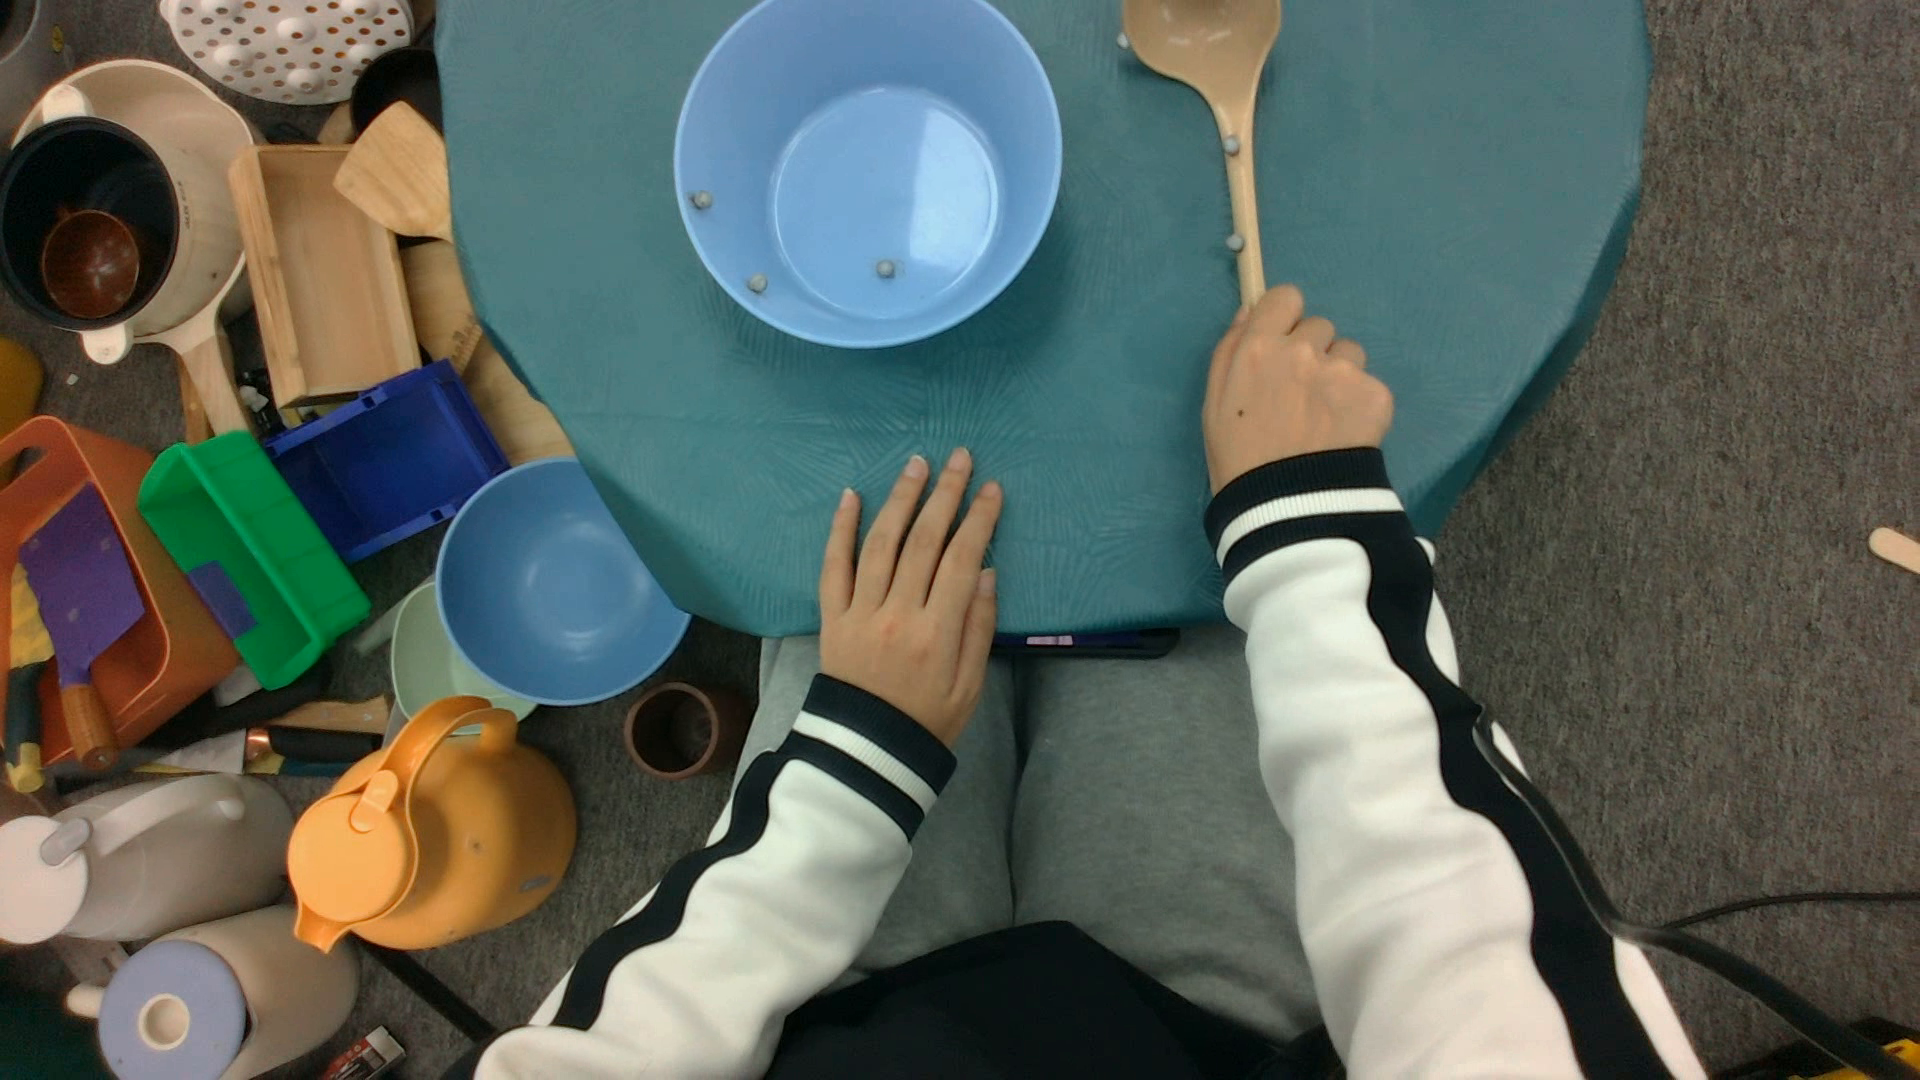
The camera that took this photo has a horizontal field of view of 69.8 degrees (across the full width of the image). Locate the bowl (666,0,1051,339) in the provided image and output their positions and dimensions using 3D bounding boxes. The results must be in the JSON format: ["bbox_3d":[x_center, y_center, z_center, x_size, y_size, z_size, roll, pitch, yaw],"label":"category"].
[{"bbox_3d":[-0.043,-0.173,0.650,0.176,0.070,0.176,-1,83,6],"label":"bowl"}]

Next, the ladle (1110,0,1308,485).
[{"bbox_3d":[0.121,-0.152,0.633,0.072,0.073,0.254,-12,82,26],"label":"ladle"}]
